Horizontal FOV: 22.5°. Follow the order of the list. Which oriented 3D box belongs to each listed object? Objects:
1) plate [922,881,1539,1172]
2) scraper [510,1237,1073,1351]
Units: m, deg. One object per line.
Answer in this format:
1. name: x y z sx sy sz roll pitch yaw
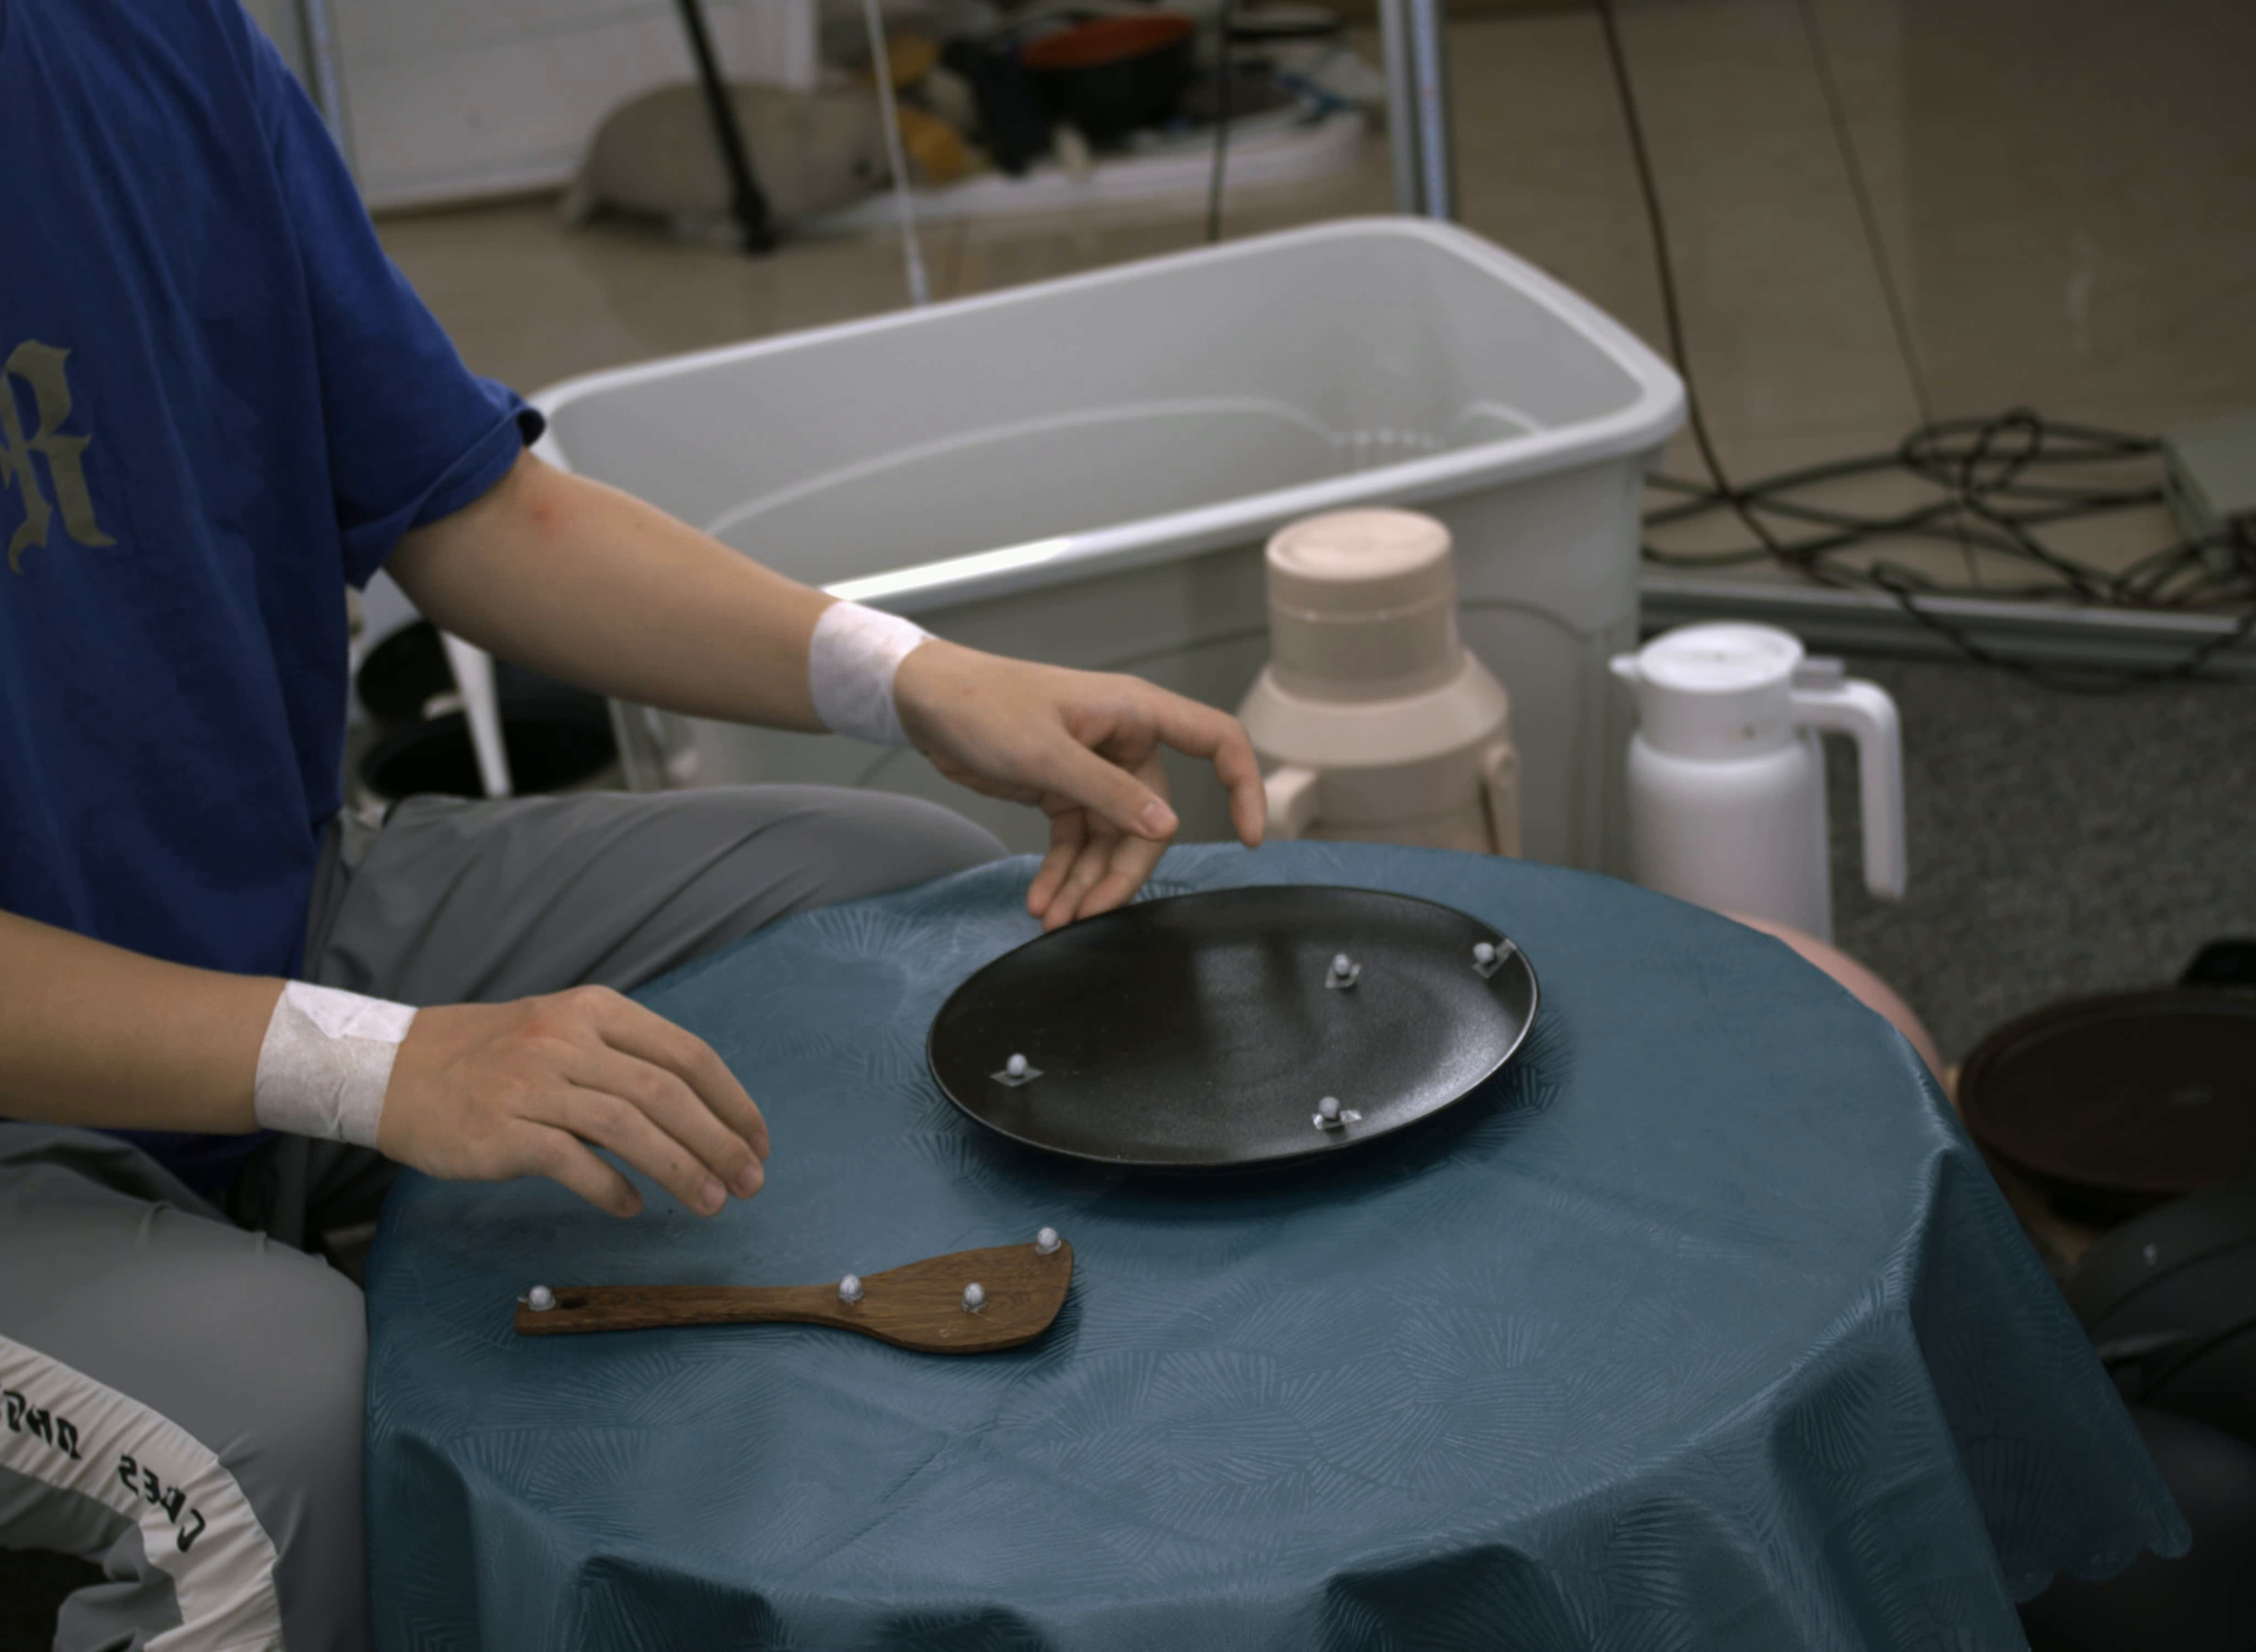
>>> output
1. plate: 0.041 0.084 2.228 0.244 0.024 0.241 -5 25 3
2. scraper: -0.125 0.175 2.089 0.211 0.011 0.075 -3 24 10
